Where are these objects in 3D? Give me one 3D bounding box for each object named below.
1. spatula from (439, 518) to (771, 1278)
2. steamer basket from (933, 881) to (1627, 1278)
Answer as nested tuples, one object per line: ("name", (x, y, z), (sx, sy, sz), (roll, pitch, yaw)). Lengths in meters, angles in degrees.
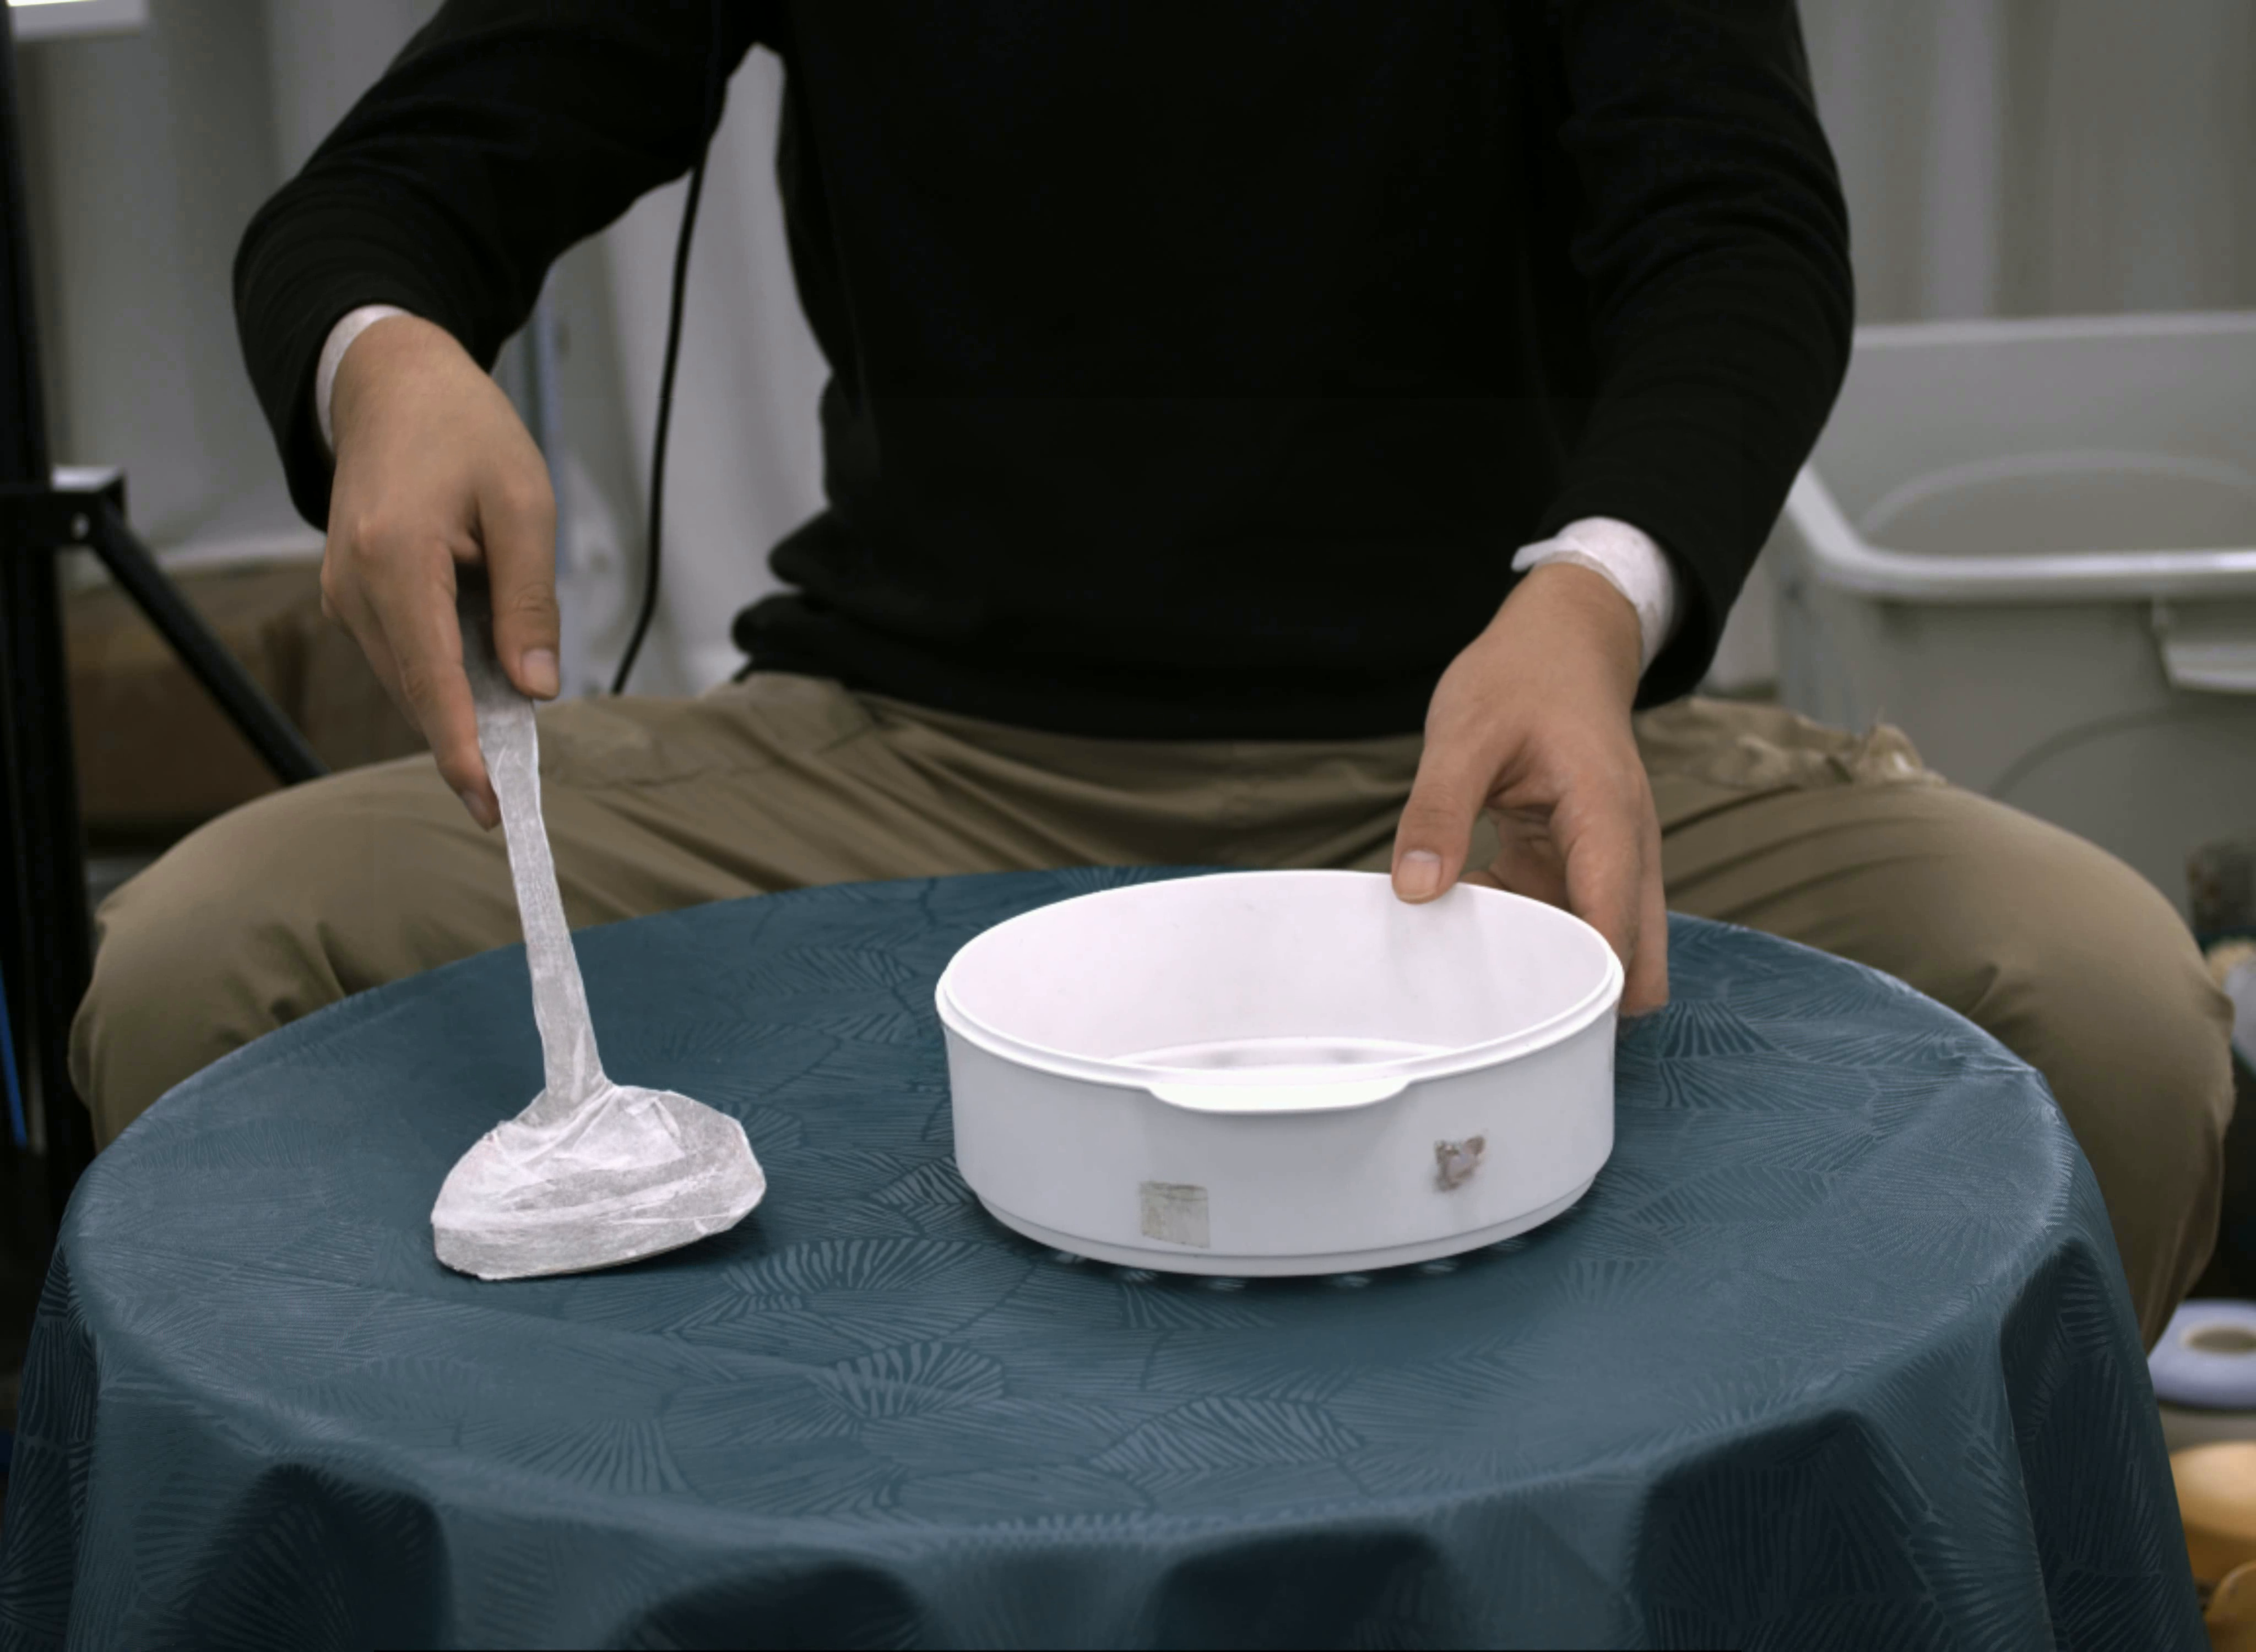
("spatula", (-0.181, 0.011, 1.651), (0.098, 0.044, 0.371), (-13, 46, -3))
("steamer basket", (0.044, 0.073, 1.546), (0.201, 0.069, 0.231), (0, 15, 3))
